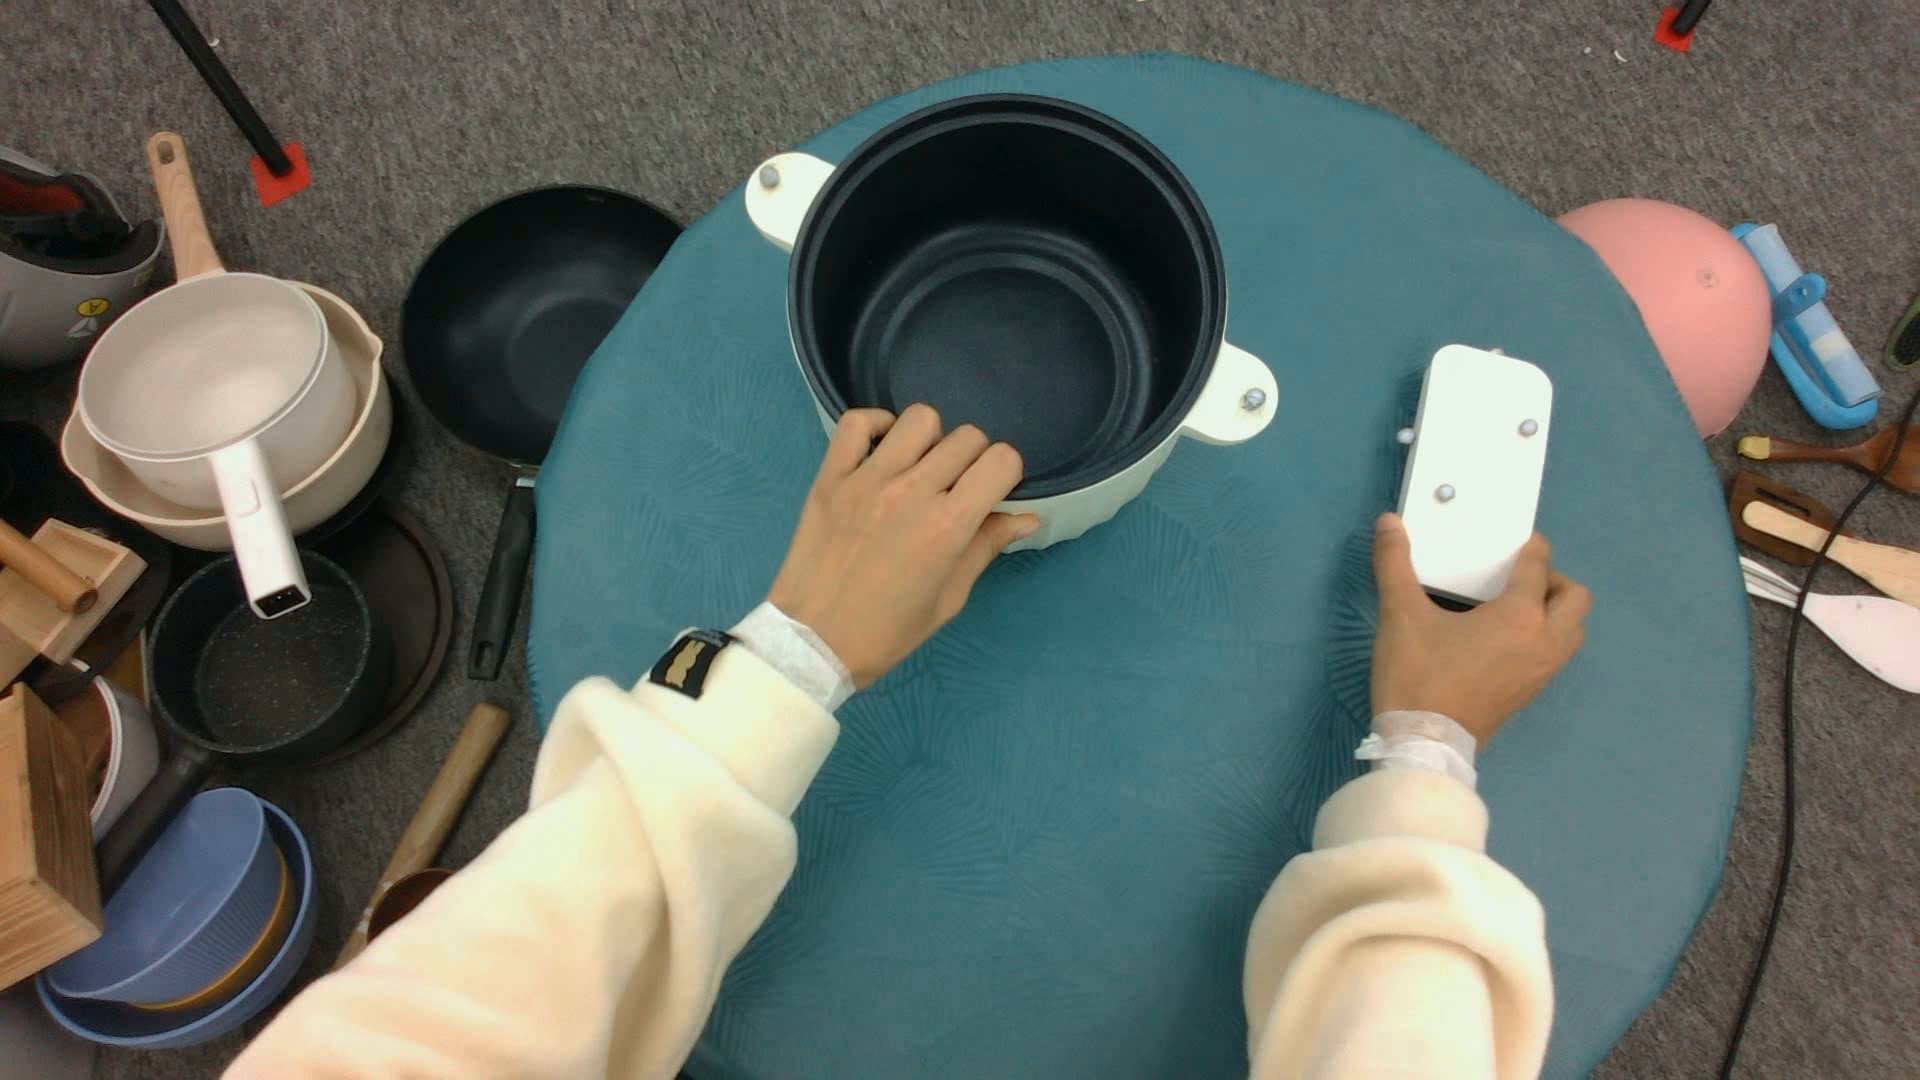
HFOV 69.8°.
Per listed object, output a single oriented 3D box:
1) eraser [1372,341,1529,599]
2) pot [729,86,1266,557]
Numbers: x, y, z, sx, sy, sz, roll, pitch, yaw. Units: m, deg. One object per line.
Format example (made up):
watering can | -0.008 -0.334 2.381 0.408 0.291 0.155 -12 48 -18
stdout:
eraser | 0.244 -0.037 0.688 0.063 0.034 0.132 15 70 4
pot | 0.015 -0.096 0.631 0.240 0.142 0.191 25 79 5
